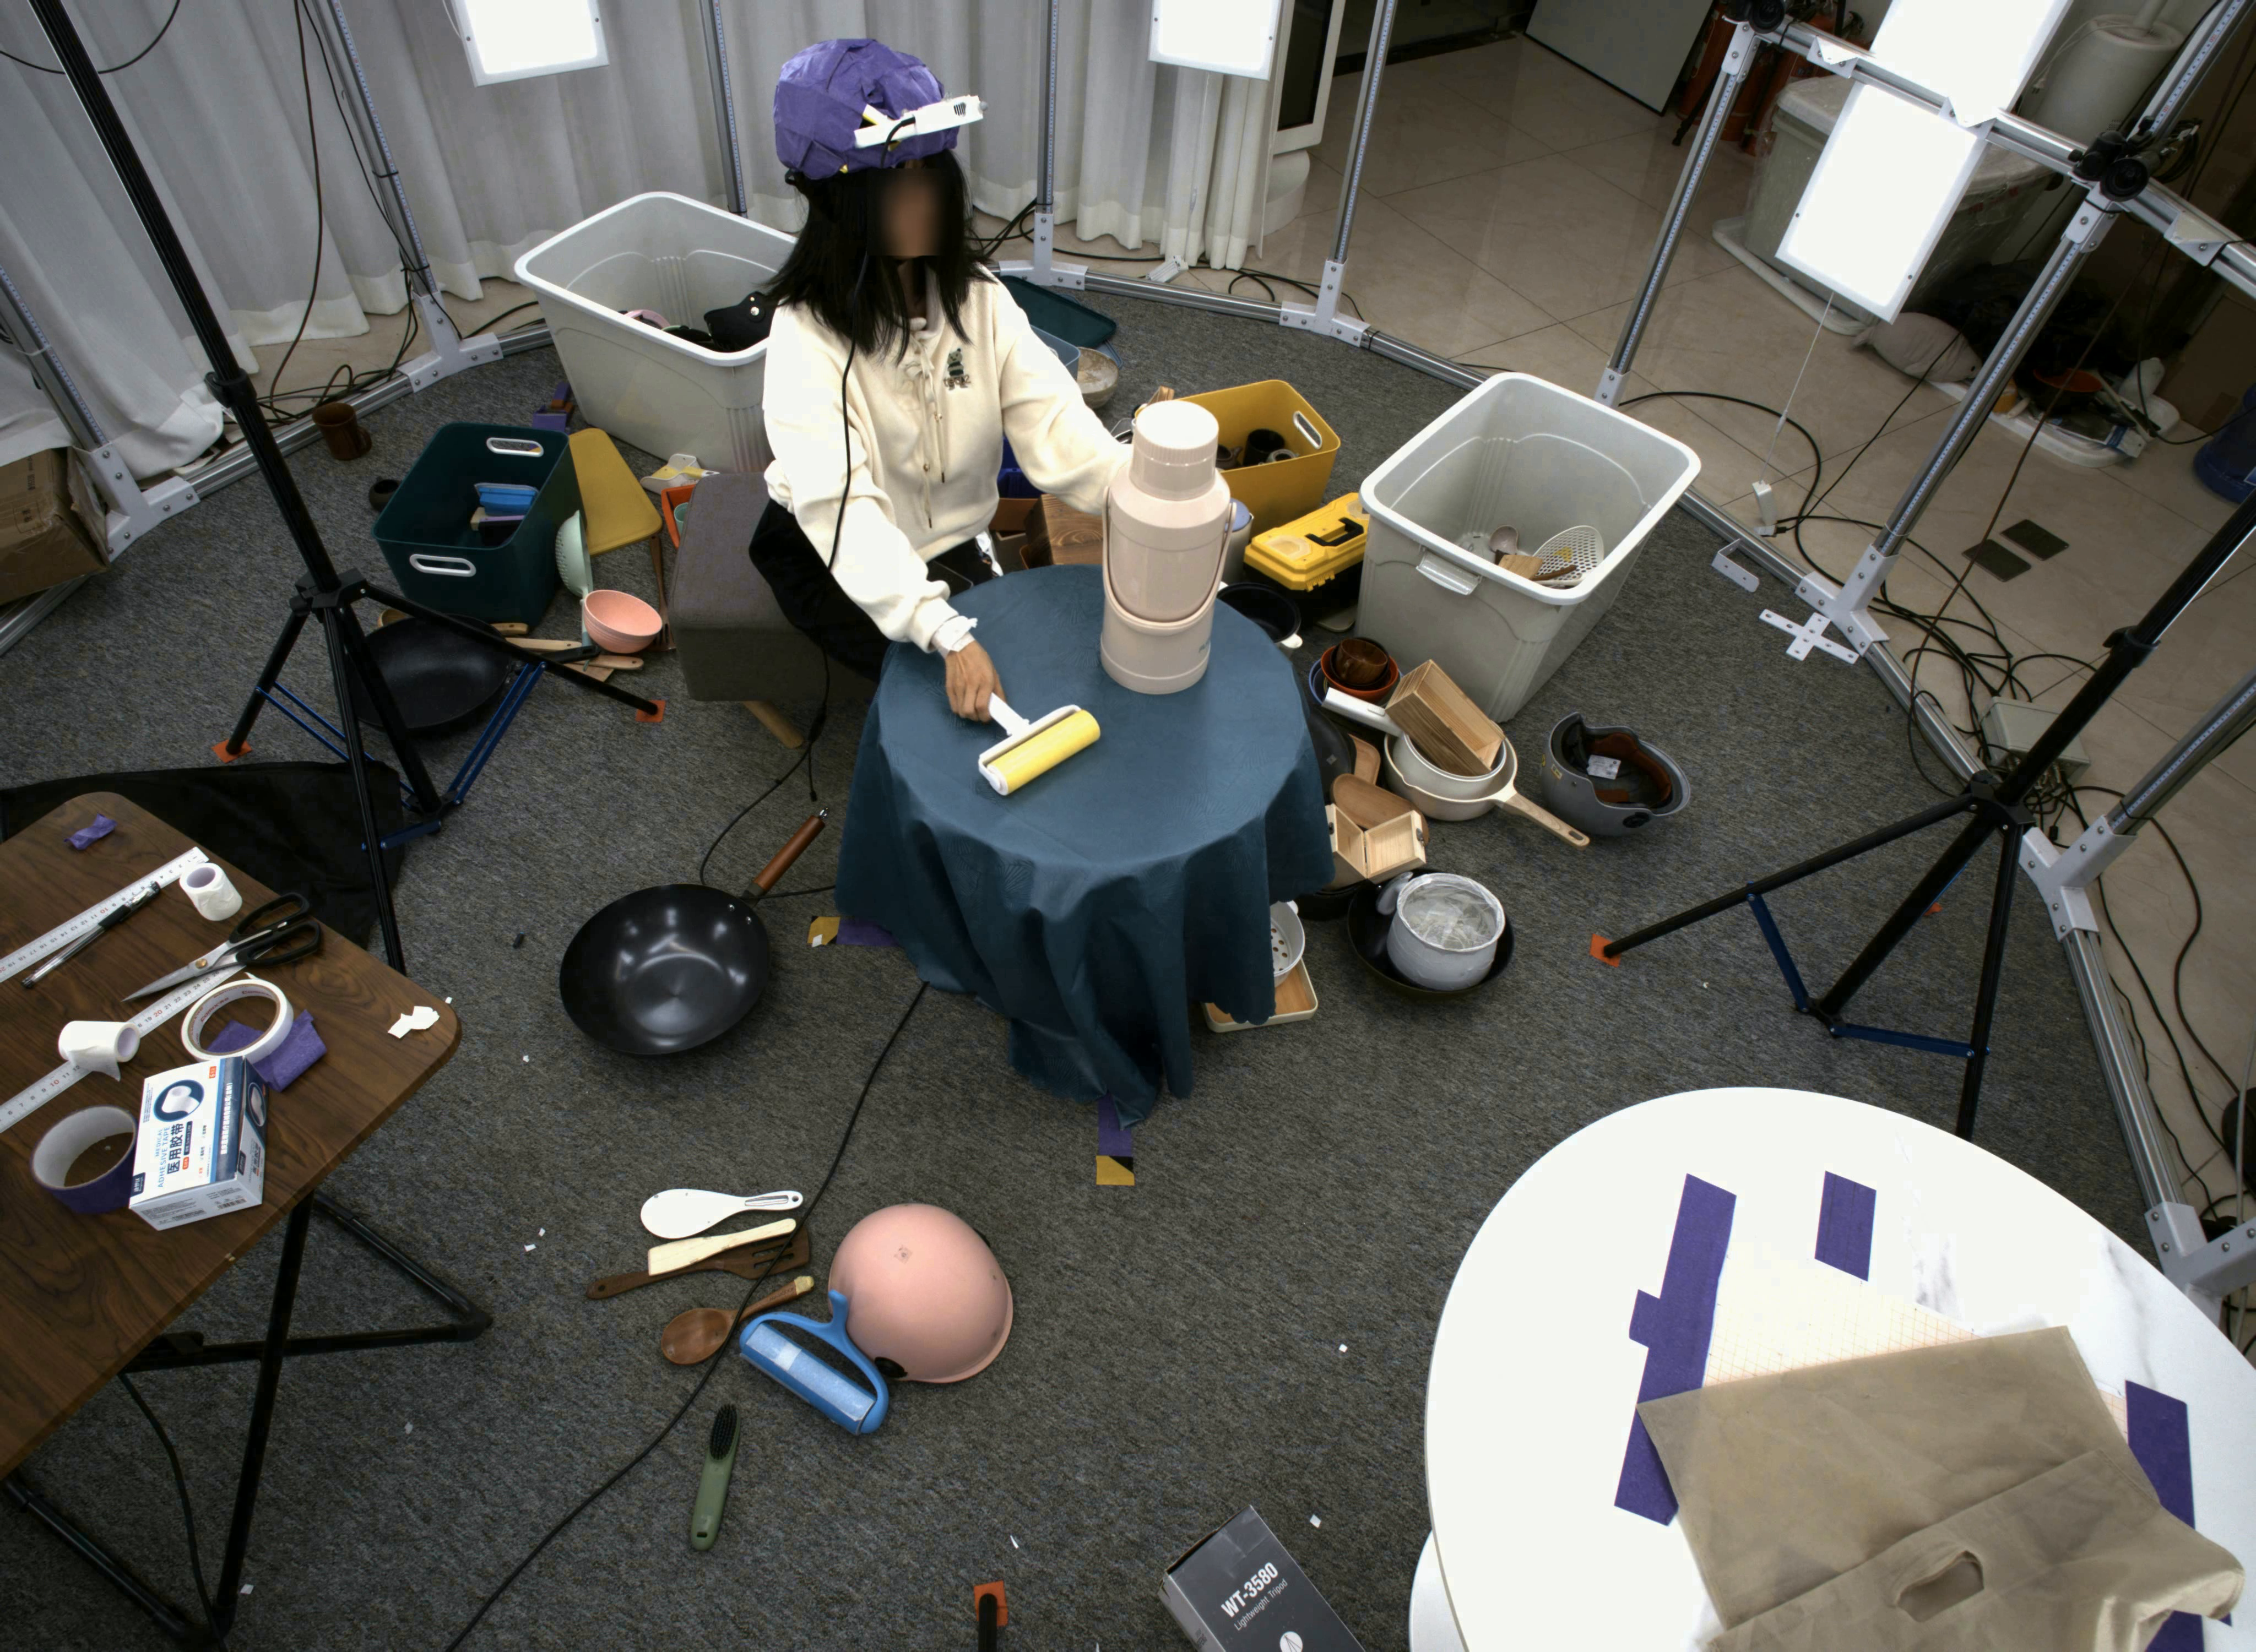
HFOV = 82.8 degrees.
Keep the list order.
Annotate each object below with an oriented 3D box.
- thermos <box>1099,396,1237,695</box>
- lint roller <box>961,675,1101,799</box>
[{"bbox_3d":[0.053,-0.383,1.751,0.175,0.396,0.212,8,49,3],"label":"thermos"},{"bbox_3d":[-0.159,-0.146,1.740,0.175,0.050,0.194,-34,72,-28],"label":"lint roller"}]
